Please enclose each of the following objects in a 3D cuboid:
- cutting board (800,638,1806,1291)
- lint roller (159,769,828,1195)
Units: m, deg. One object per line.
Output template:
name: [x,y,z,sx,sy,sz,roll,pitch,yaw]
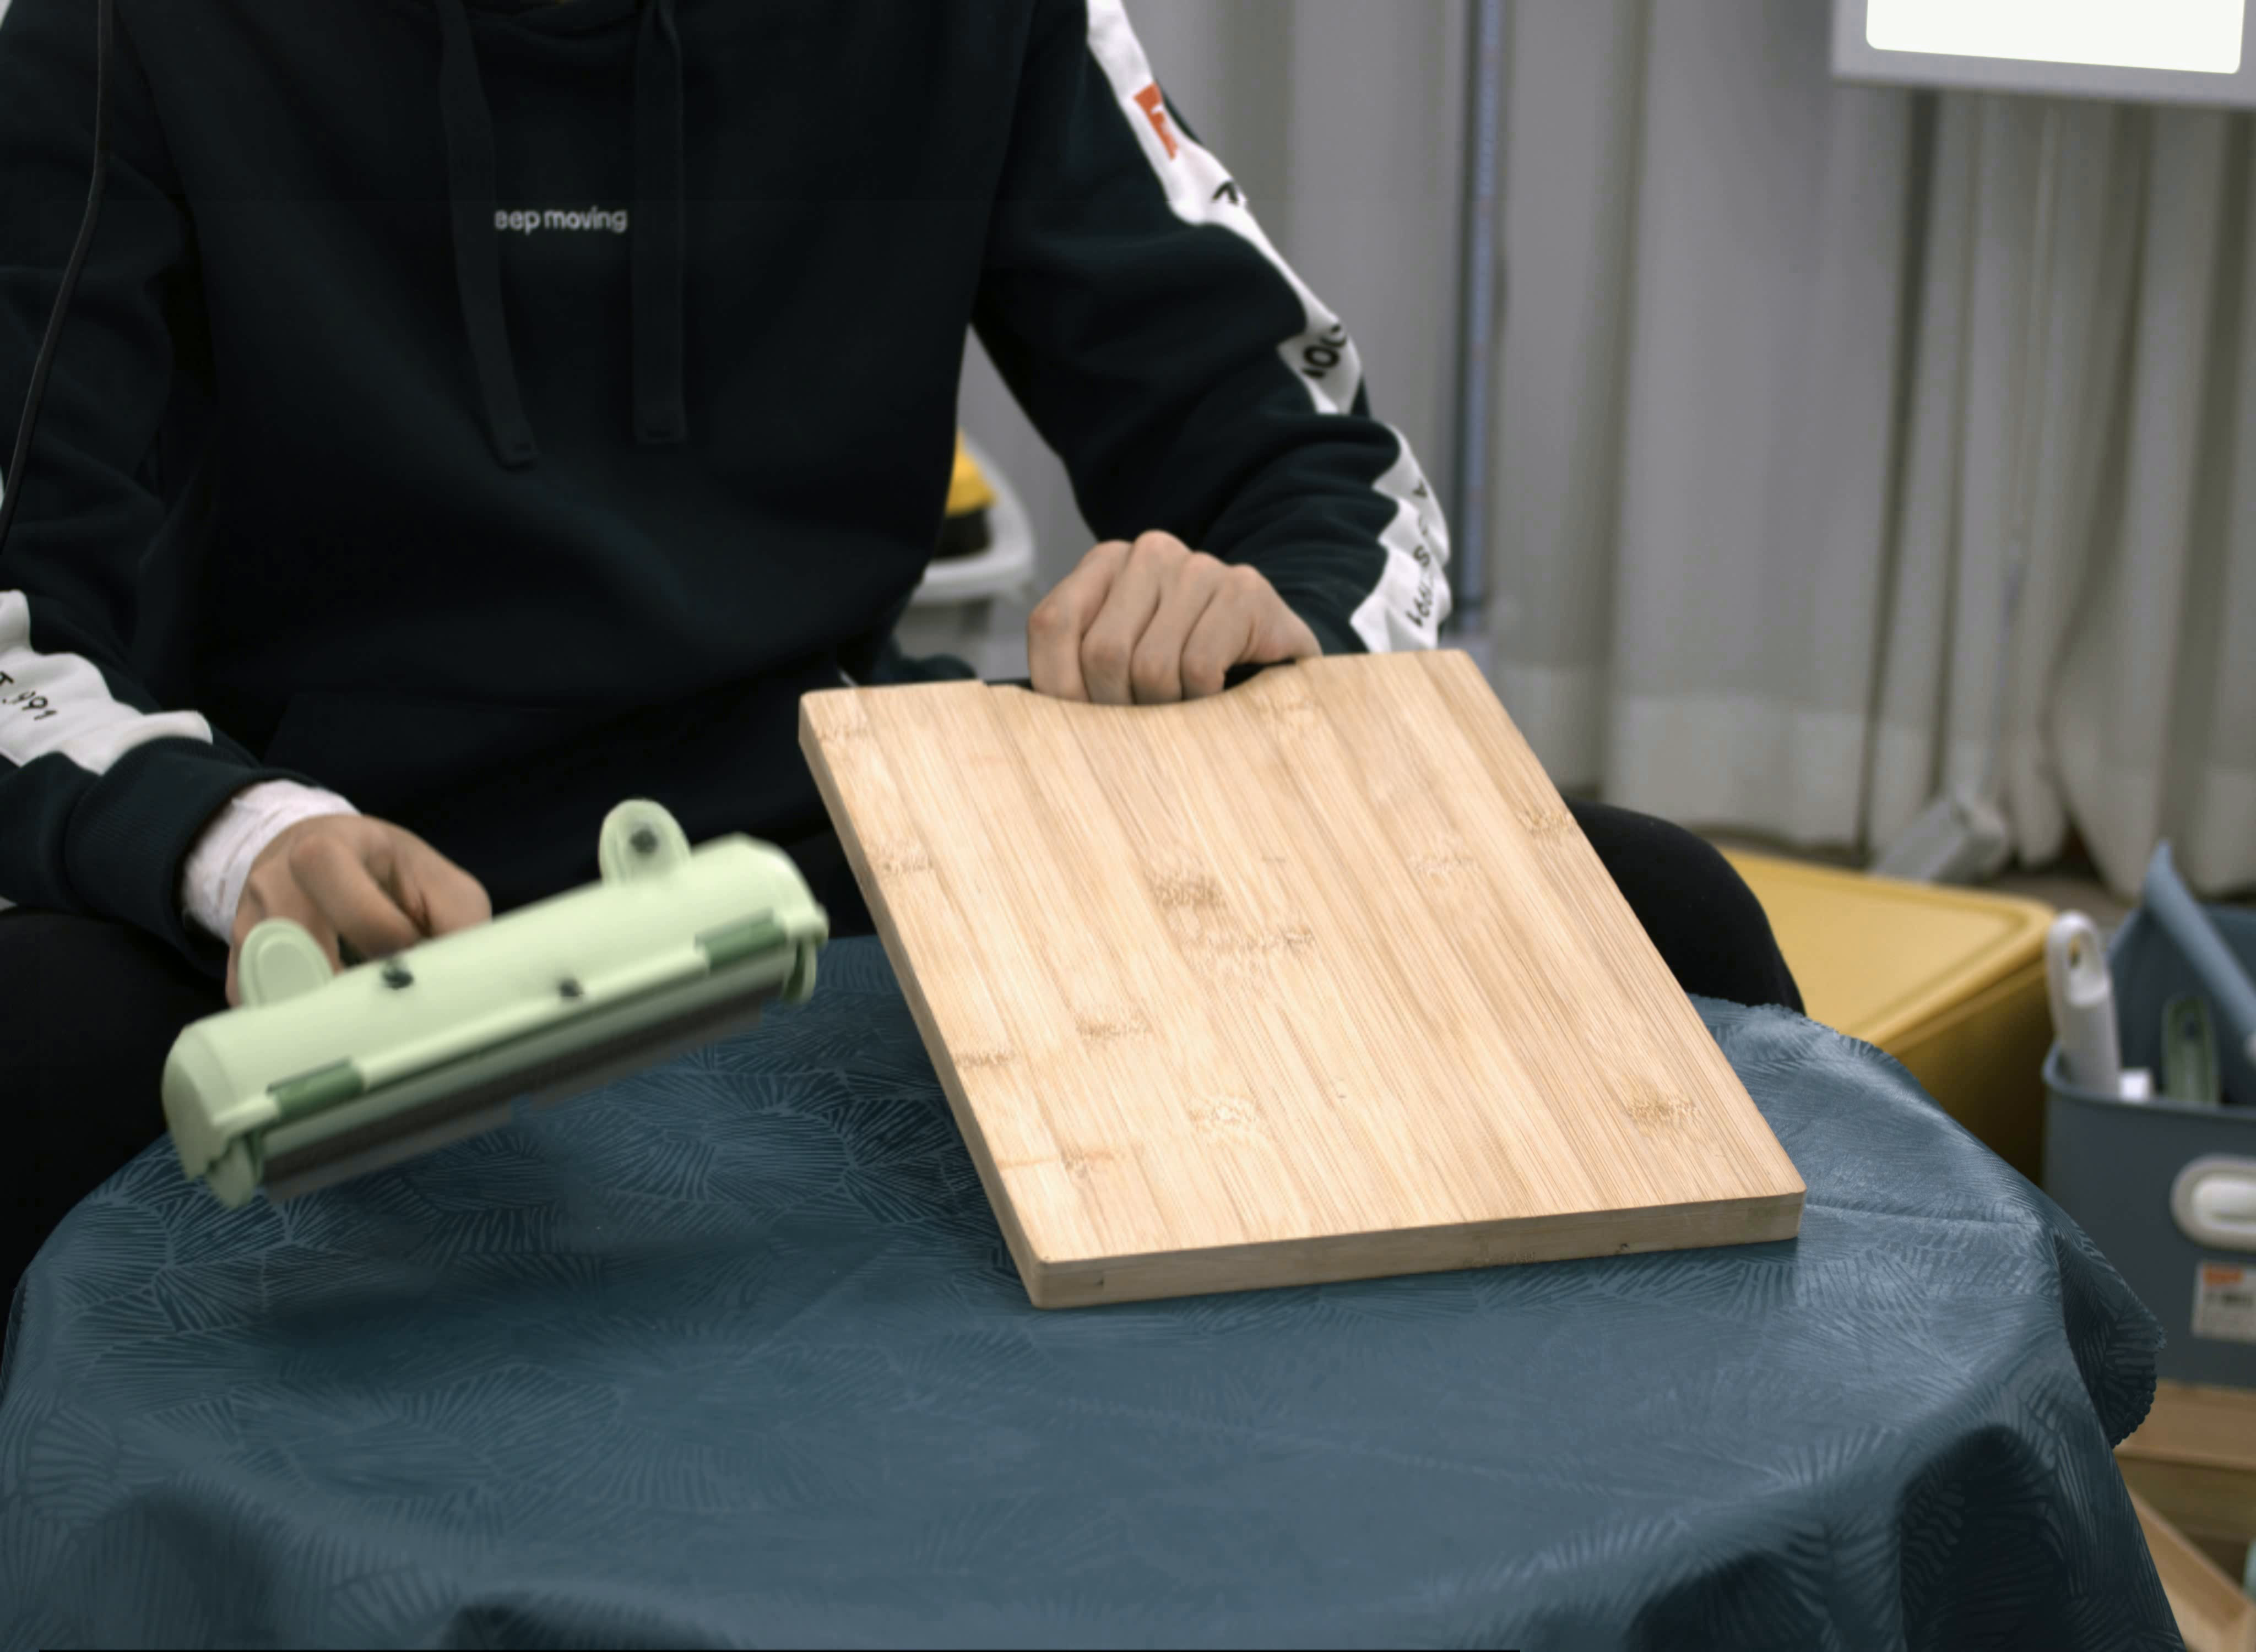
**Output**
cutting board: [0.045,0.037,1.690,0.251,0.024,0.344,-4,32,-16]
lint roller: [-0.212,0.031,1.571,0.199,0.083,0.181,-21,24,-25]
